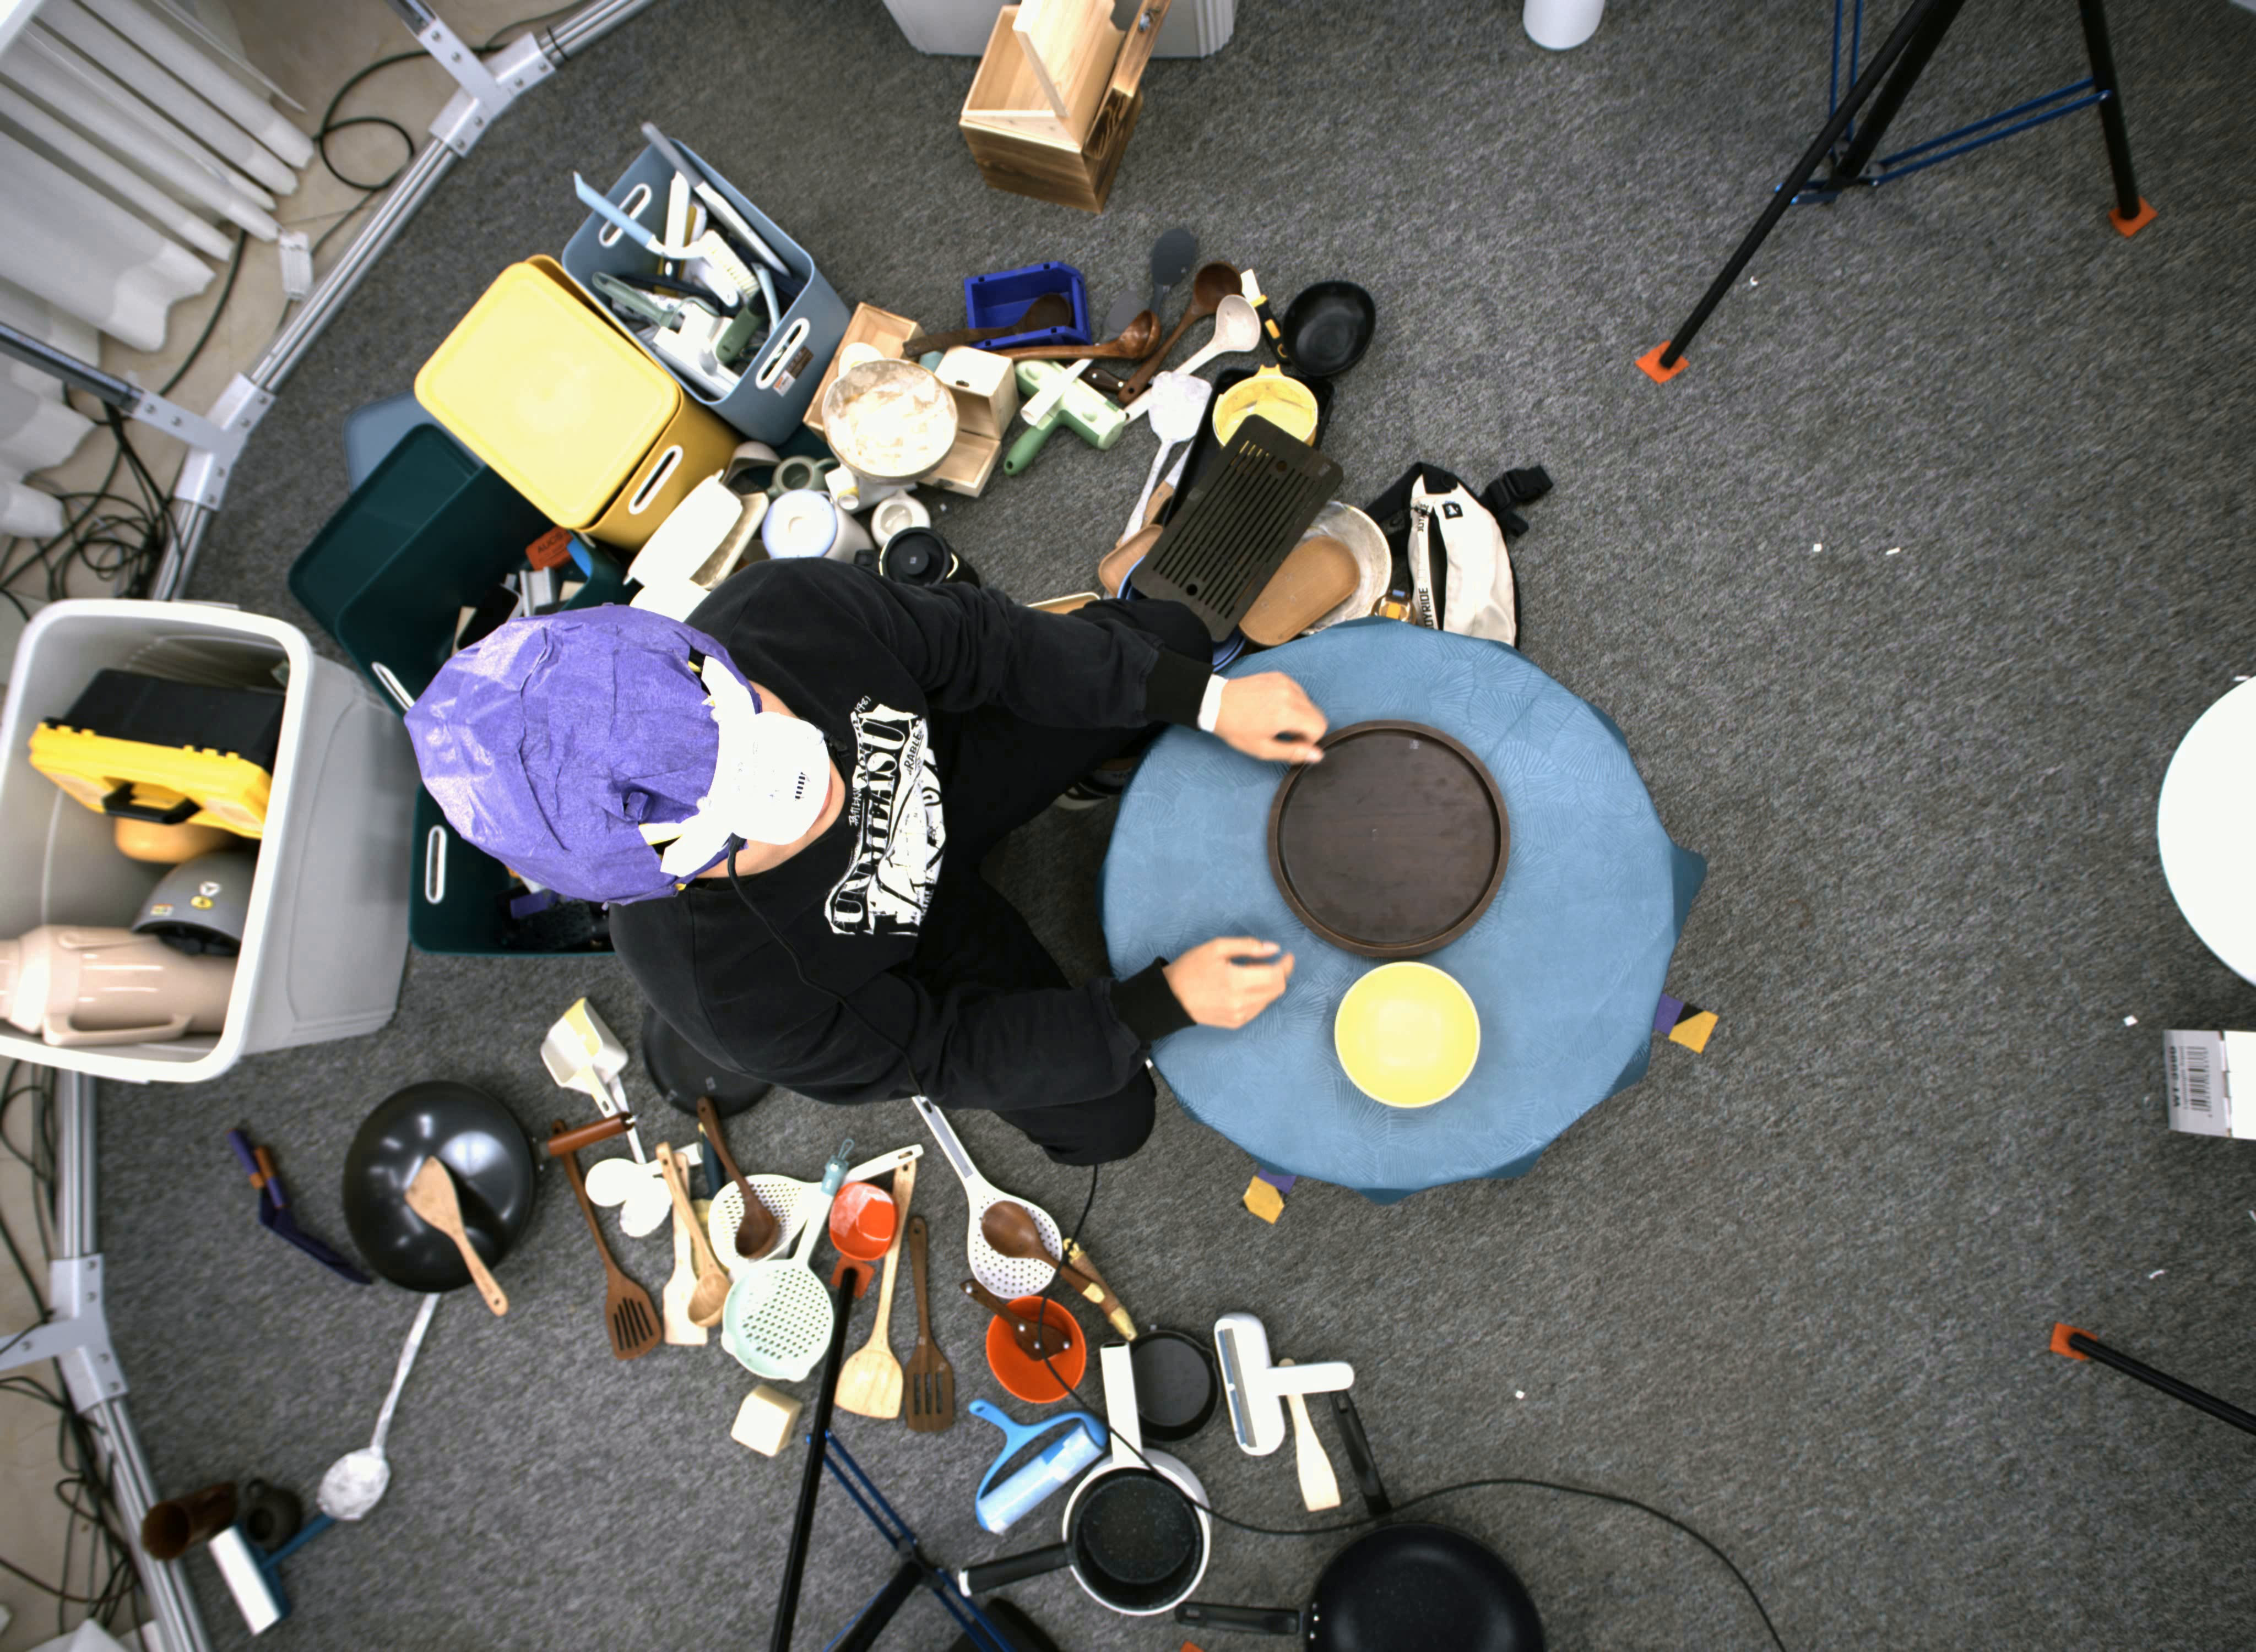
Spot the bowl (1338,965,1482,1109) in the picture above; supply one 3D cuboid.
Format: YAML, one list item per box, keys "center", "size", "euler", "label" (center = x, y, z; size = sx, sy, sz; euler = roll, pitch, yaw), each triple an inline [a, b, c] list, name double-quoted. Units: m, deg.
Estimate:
- center: [0.290, 0.216, 1.423]
  size: [0.146, 0.060, 0.144]
  euler: [-2, 83, 12]
  label: "bowl"

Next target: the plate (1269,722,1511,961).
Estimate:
- center: [0.275, 0.014, 1.457]
  size: [0.256, 0.029, 0.254]
  euler: [-1, 88, 11]
  label: "plate"
